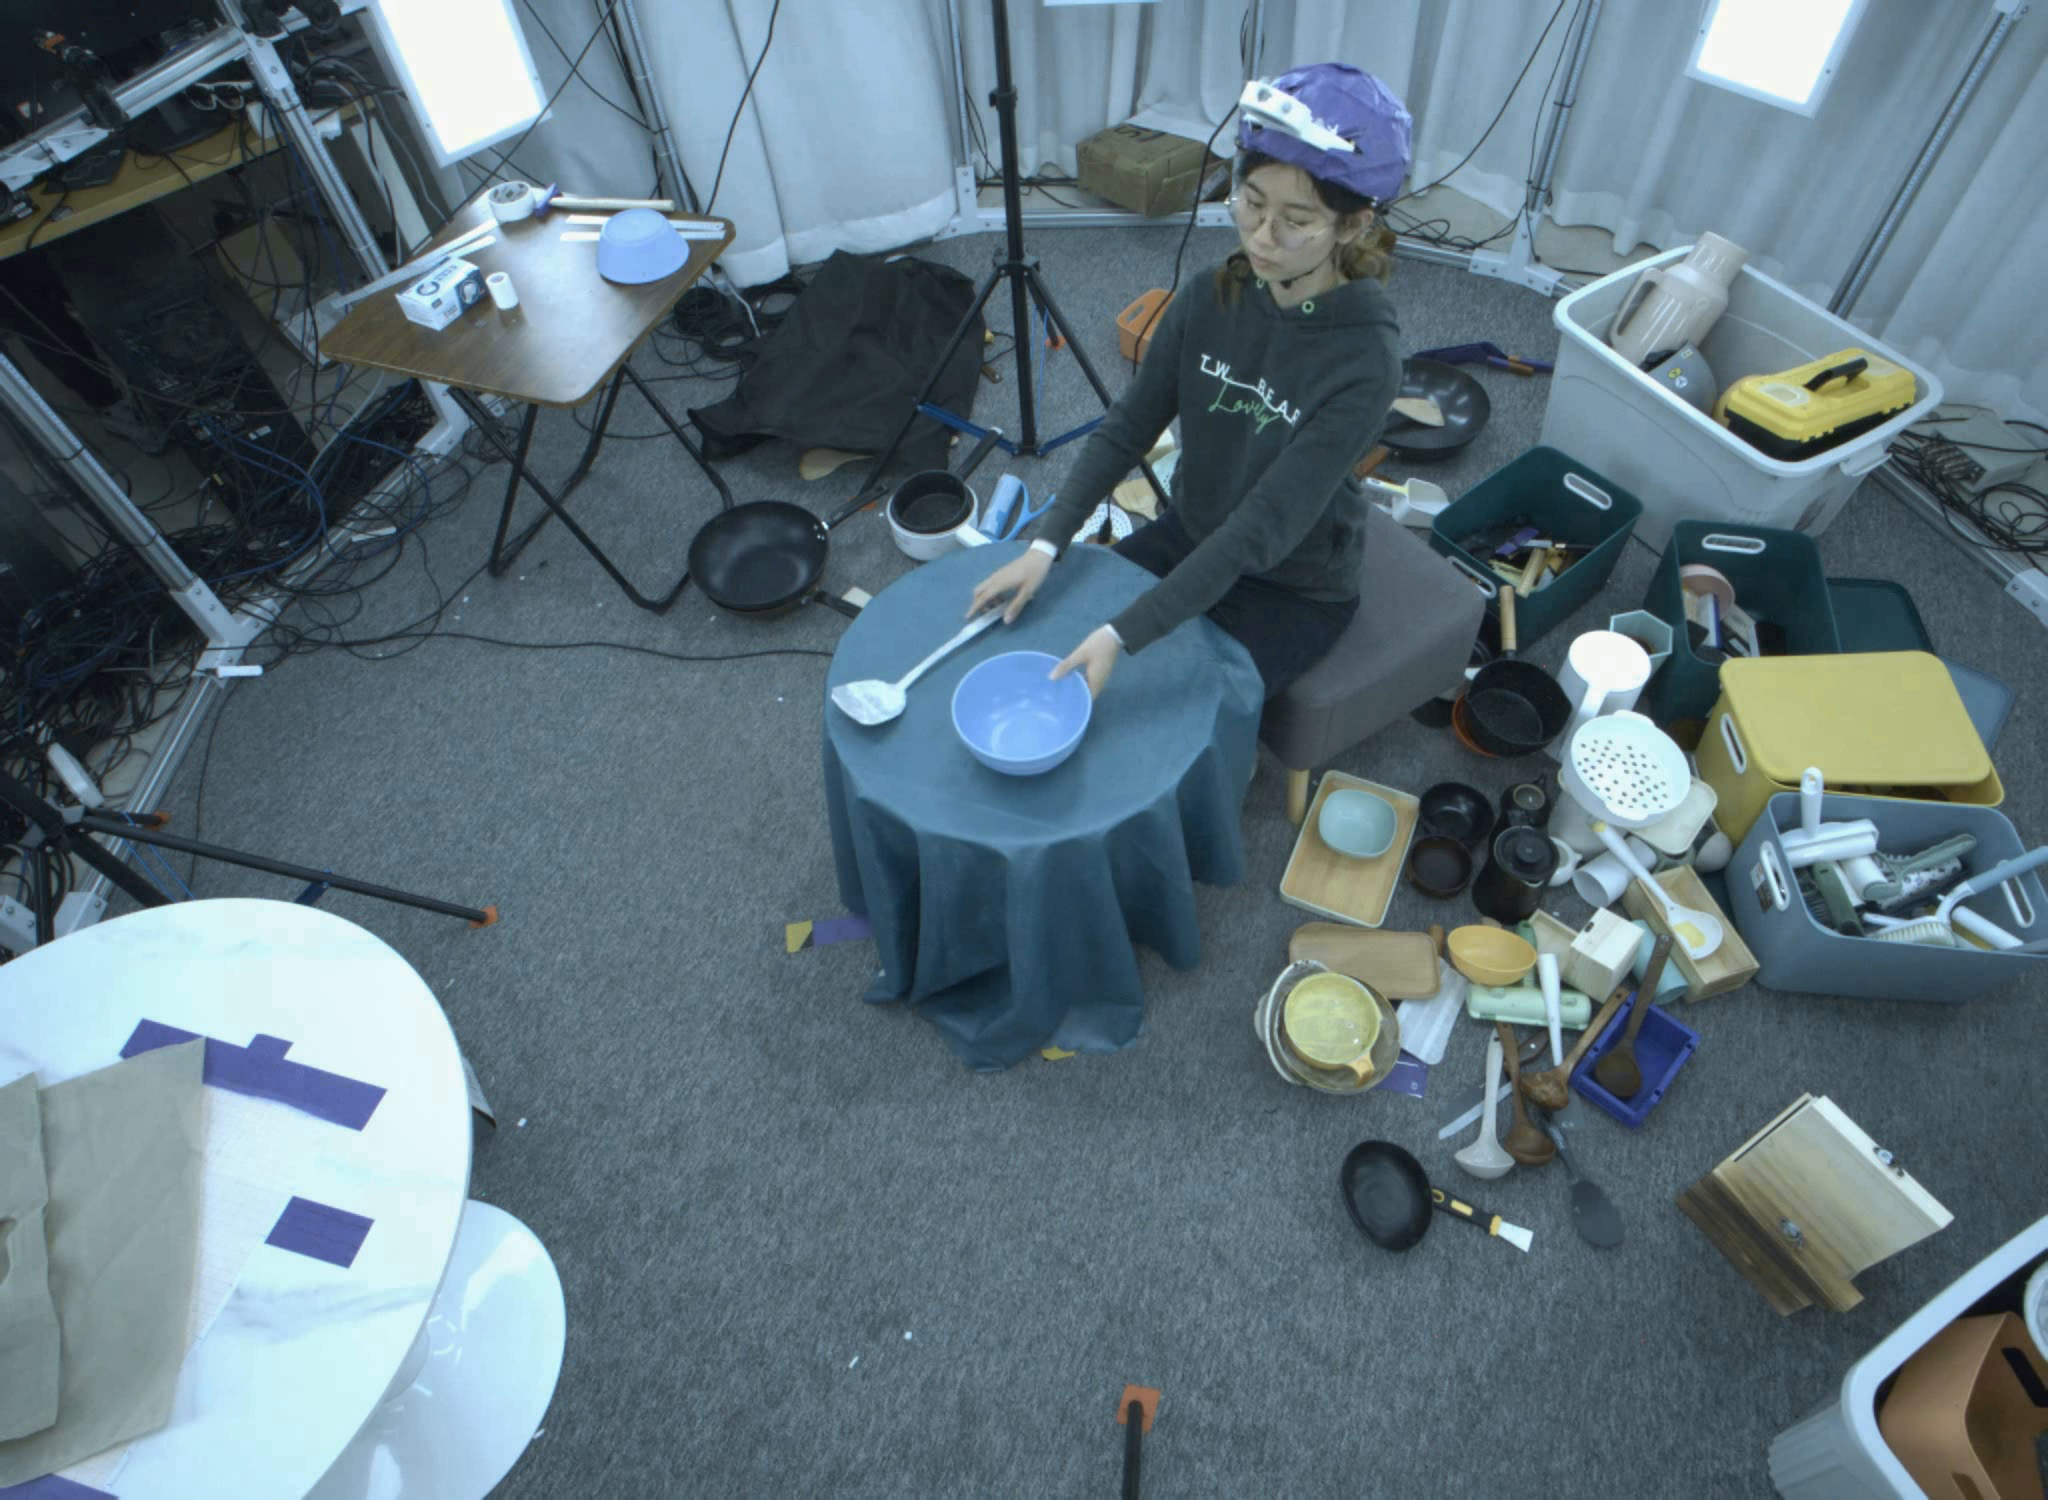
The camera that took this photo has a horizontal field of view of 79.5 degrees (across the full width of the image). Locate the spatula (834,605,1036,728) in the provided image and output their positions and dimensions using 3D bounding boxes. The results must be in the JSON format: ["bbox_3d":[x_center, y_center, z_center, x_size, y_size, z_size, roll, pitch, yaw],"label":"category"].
[{"bbox_3d":[-0.126,-0.143,1.878,0.367,0.045,0.097,-37,60,-22],"label":"spatula"}]

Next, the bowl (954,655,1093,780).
[{"bbox_3d":[0.003,-0.032,1.761,0.196,0.096,0.194,-1,56,3],"label":"bowl"}]
